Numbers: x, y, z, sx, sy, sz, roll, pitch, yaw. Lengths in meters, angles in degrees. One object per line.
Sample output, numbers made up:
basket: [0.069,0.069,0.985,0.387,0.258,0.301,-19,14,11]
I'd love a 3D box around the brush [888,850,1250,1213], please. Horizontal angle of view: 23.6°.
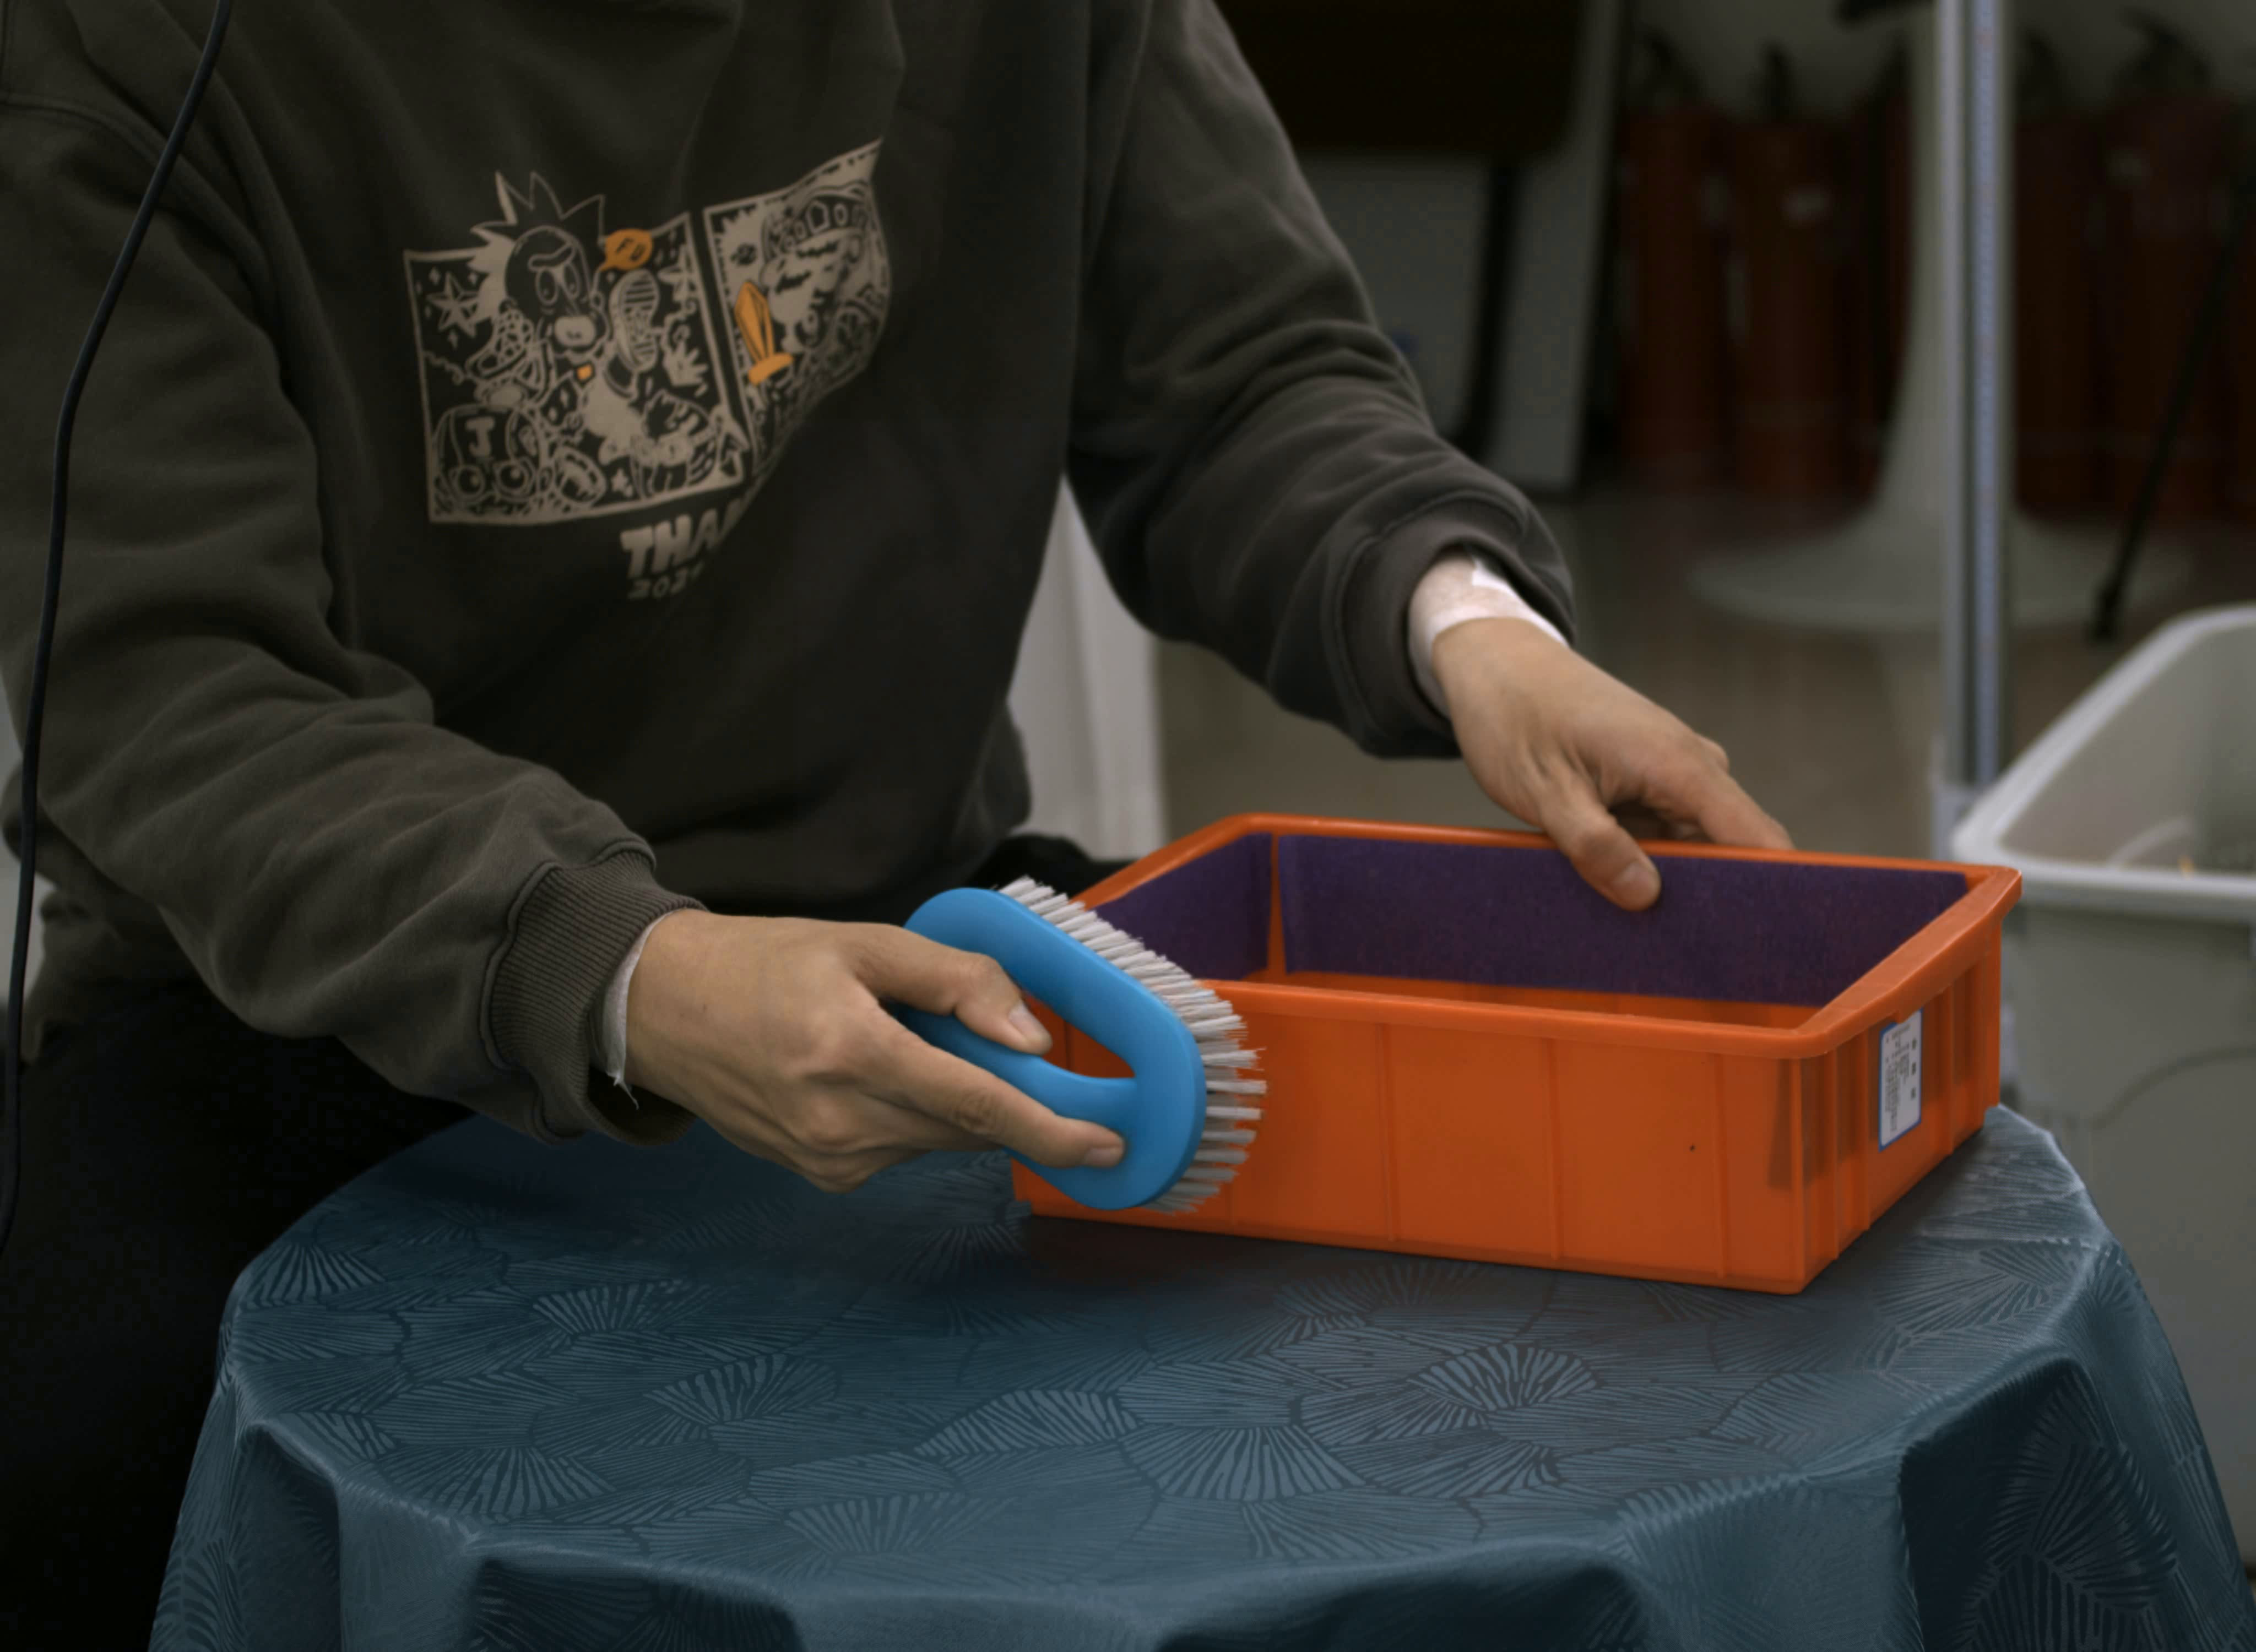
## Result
brush: [-0.030,0.066,1.686,0.062,0.085,0.143,-2,30,-46]

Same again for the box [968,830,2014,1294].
box: [0.122,0.073,1.758,0.304,0.097,0.203,4,15,29]
